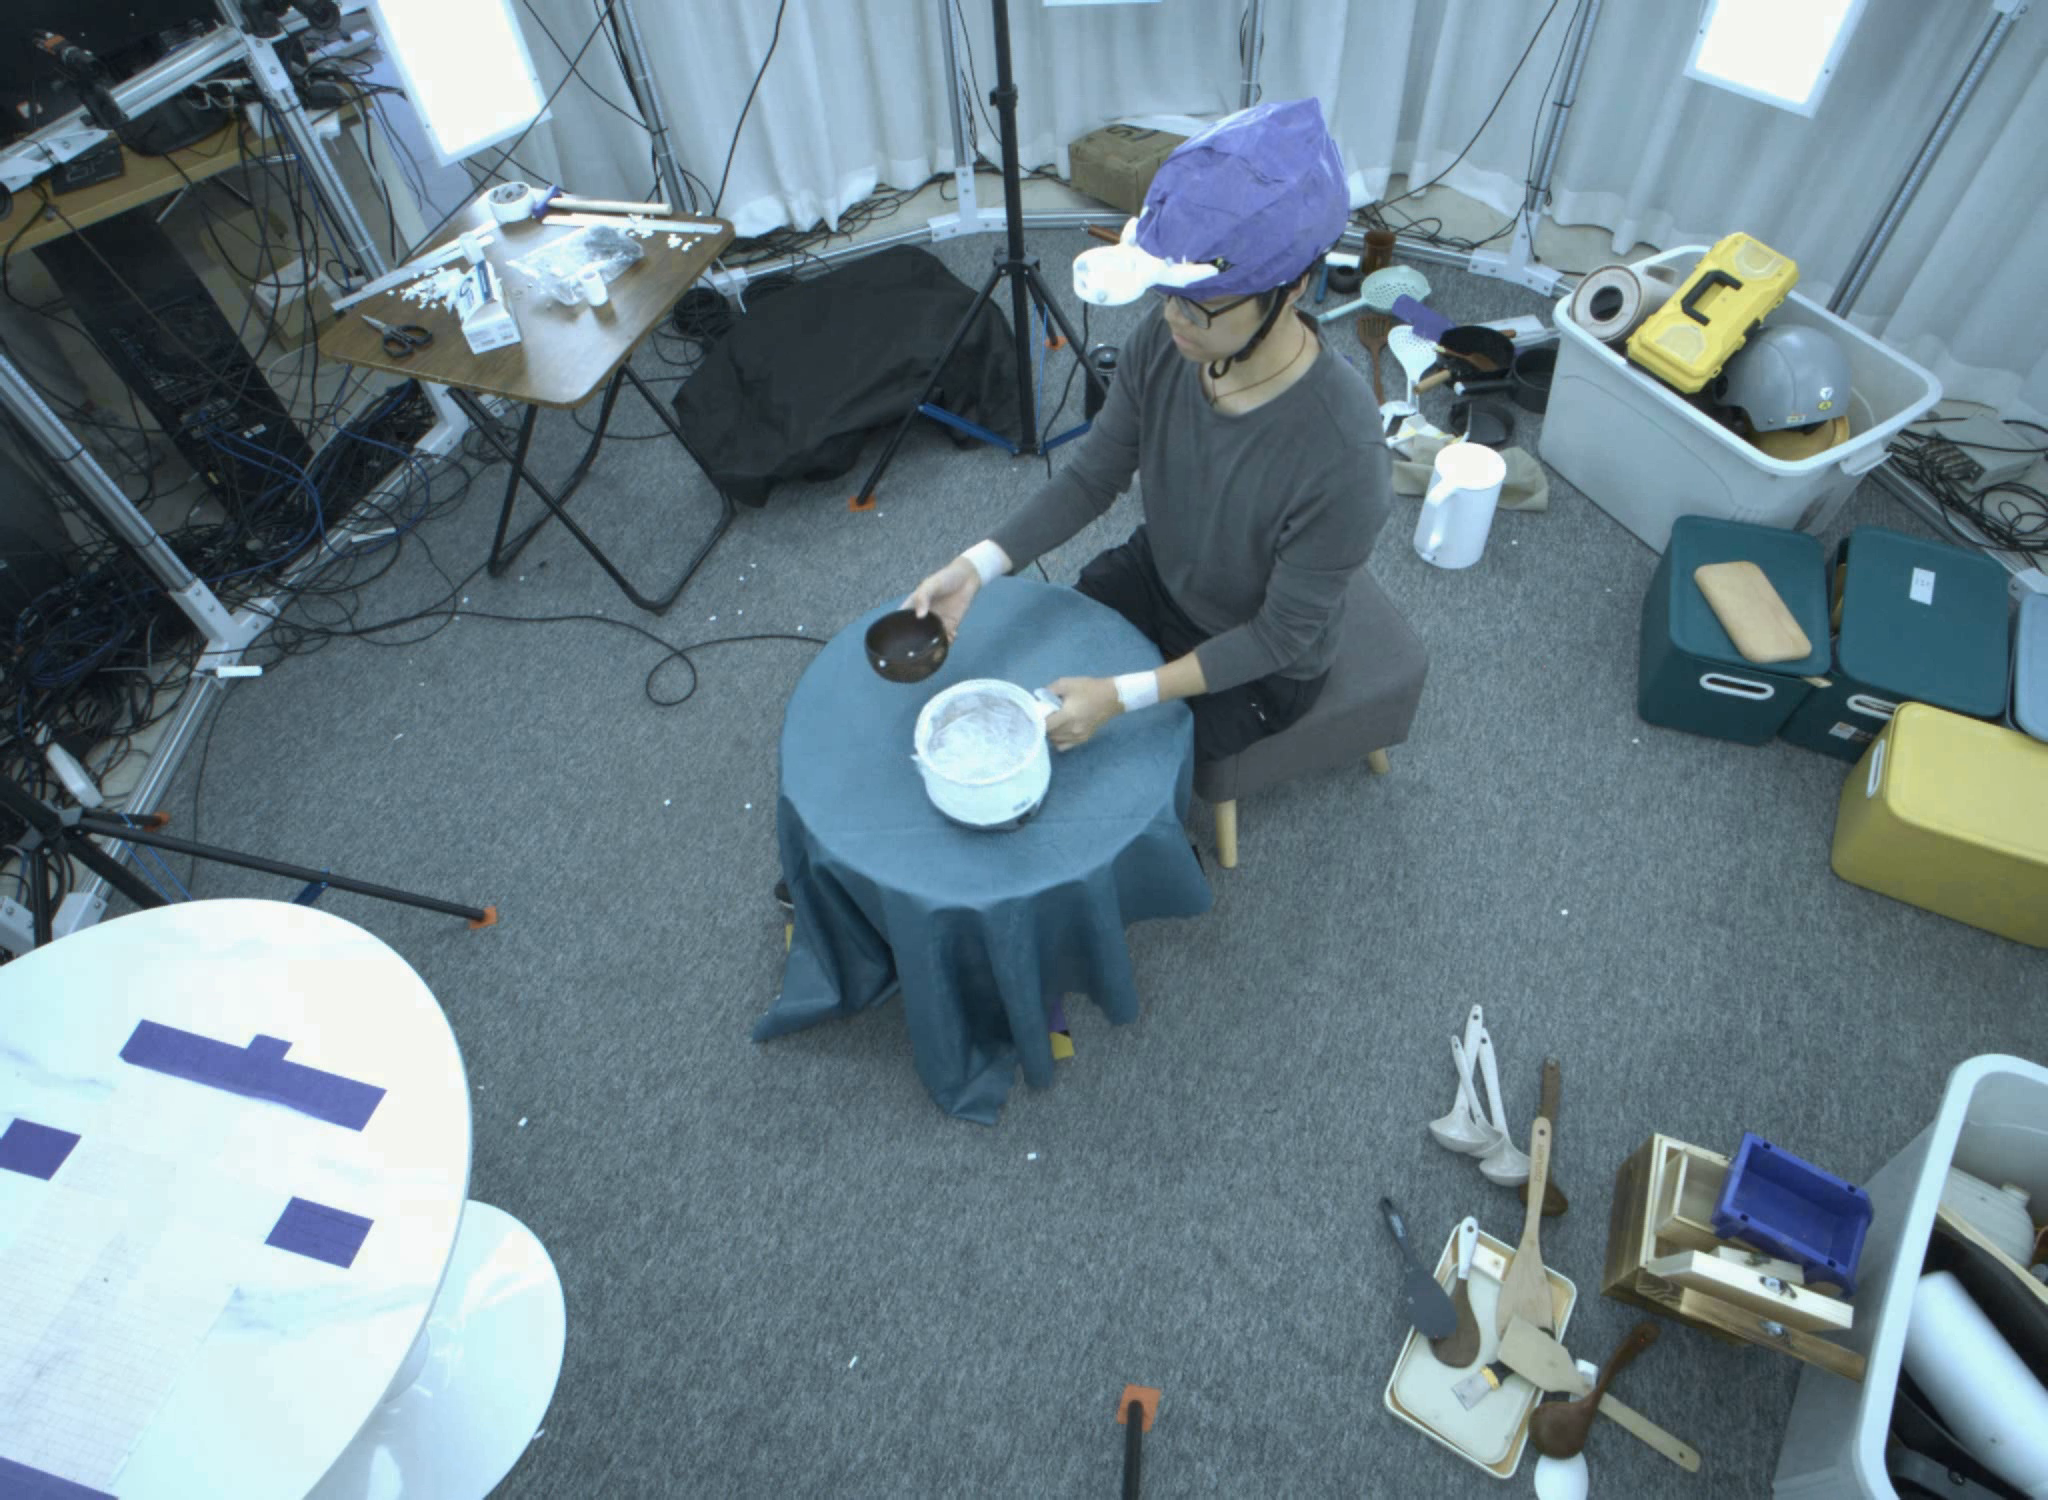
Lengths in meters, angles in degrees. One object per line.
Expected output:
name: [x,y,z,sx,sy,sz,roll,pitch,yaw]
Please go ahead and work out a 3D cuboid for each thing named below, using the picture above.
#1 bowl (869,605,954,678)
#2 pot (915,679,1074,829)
bowl: [-0.158,-0.146,1.734,0.118,0.070,0.117,-1,39,2]
pot: [-0.033,-0.005,1.713,0.235,0.138,0.175,-33,60,-19]
